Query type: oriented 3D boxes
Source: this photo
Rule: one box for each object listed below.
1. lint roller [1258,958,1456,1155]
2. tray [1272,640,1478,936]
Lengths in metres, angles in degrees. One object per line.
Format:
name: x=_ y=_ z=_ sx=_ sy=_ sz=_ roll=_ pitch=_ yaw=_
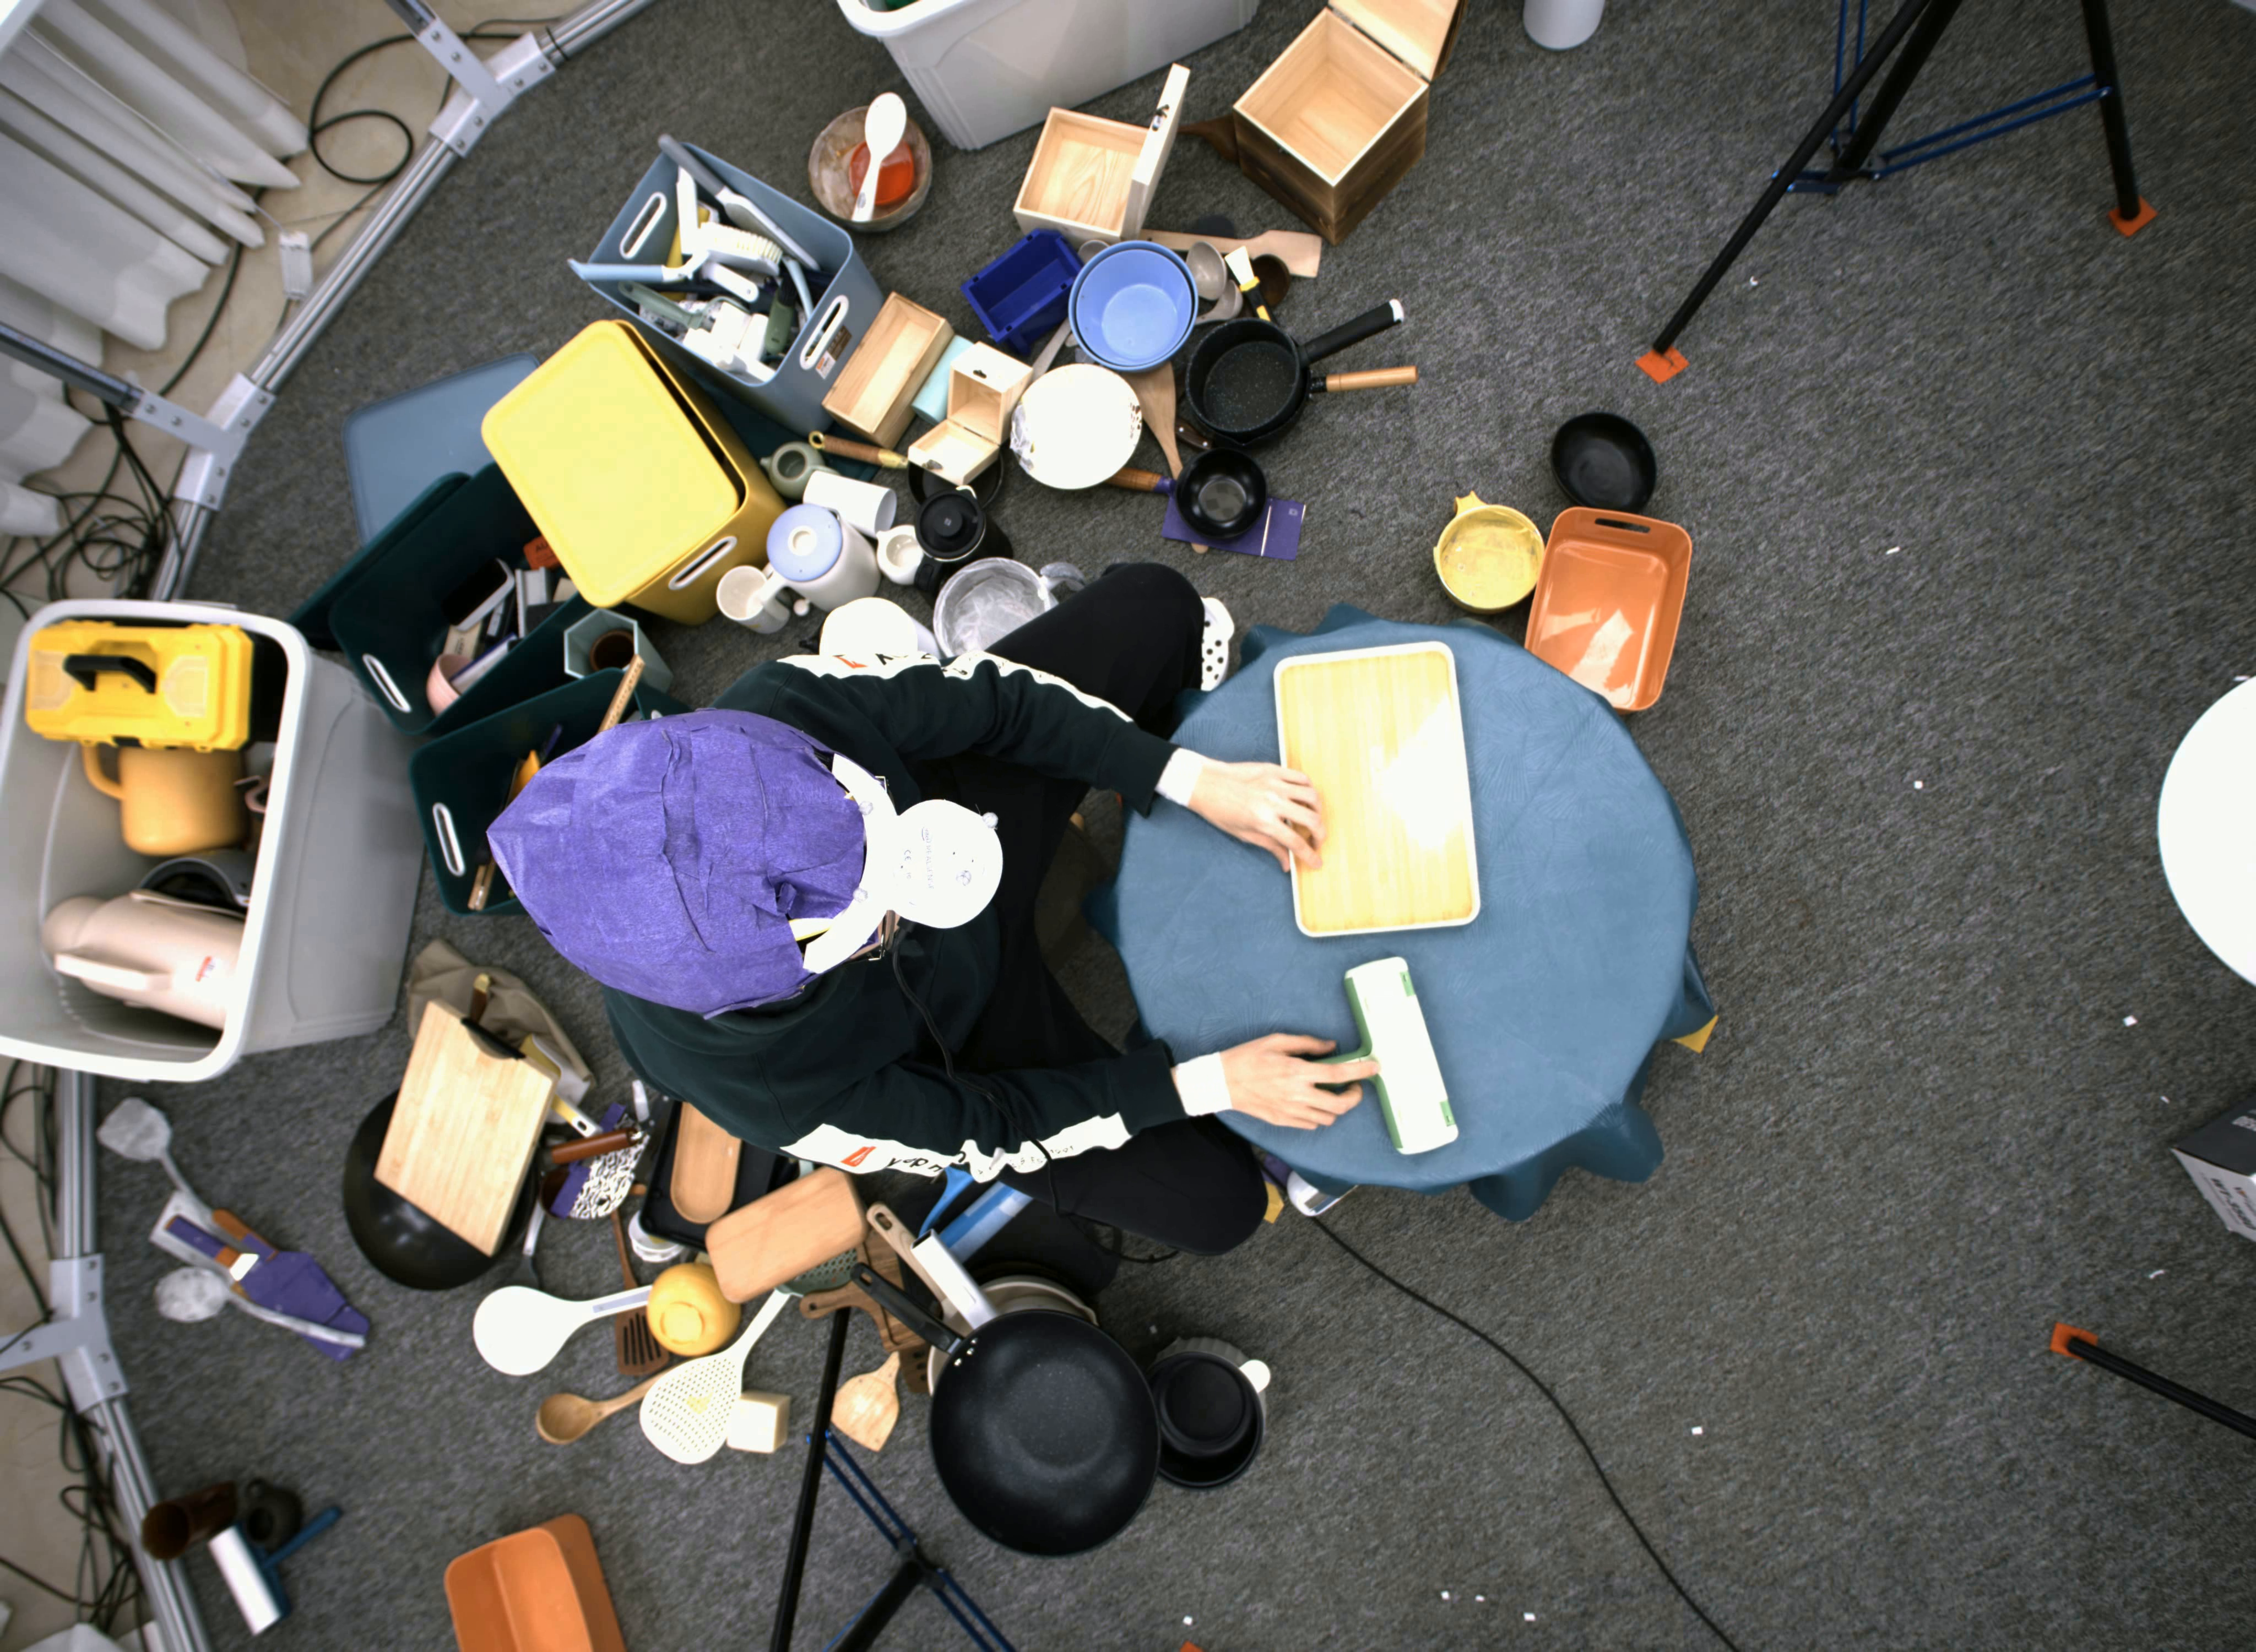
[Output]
lint roller: x=0.221 y=0.249 z=1.416 sx=0.184 sy=0.082 sz=0.197 roll=-17 pitch=84 yaw=4
tray: x=0.258 y=-0.040 z=1.450 sx=0.192 sy=0.027 sz=0.299 roll=-5 pitch=86 yaw=11
